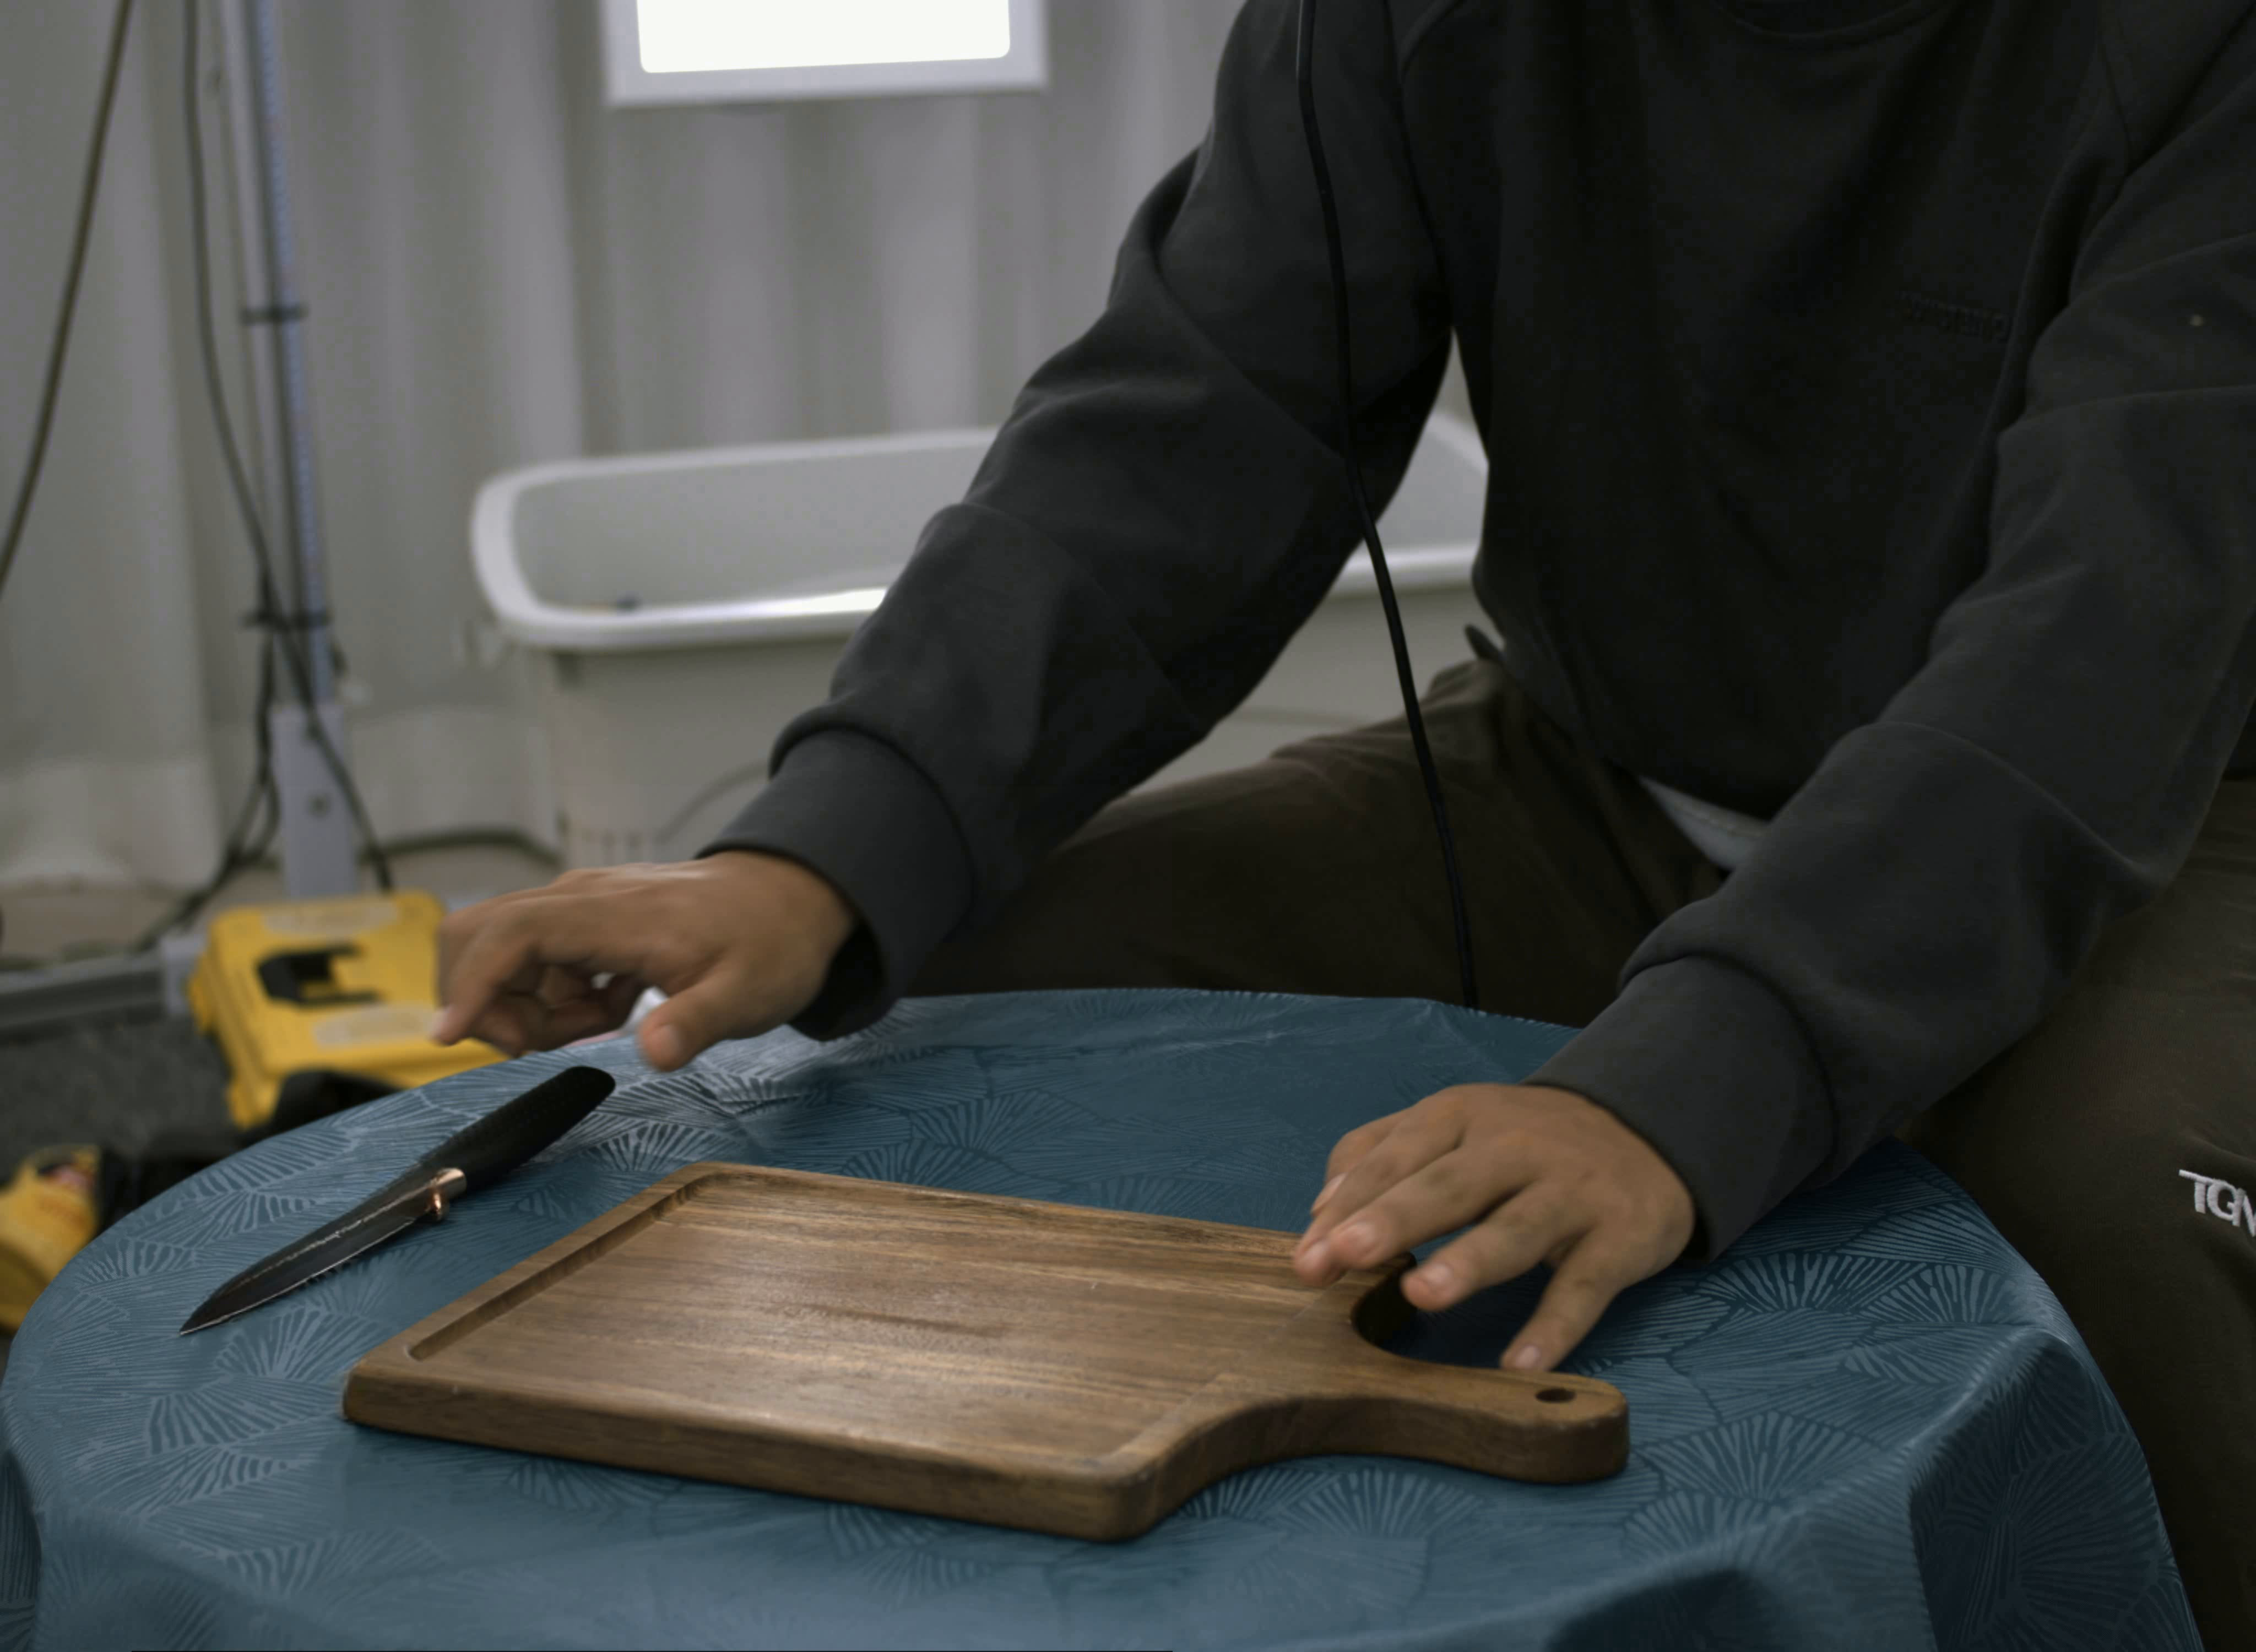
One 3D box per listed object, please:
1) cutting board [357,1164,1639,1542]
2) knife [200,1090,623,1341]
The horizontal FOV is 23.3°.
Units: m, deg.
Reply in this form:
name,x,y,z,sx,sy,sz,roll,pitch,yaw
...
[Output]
name,x,y,z,sx,sy,sz,roll,pitch,yaw
cutting board,-0.022,0.151,1.546,0.353,0.023,0.201,5,17,26
knife,-0.224,0.121,1.712,0.026,0.017,0.226,11,20,27
